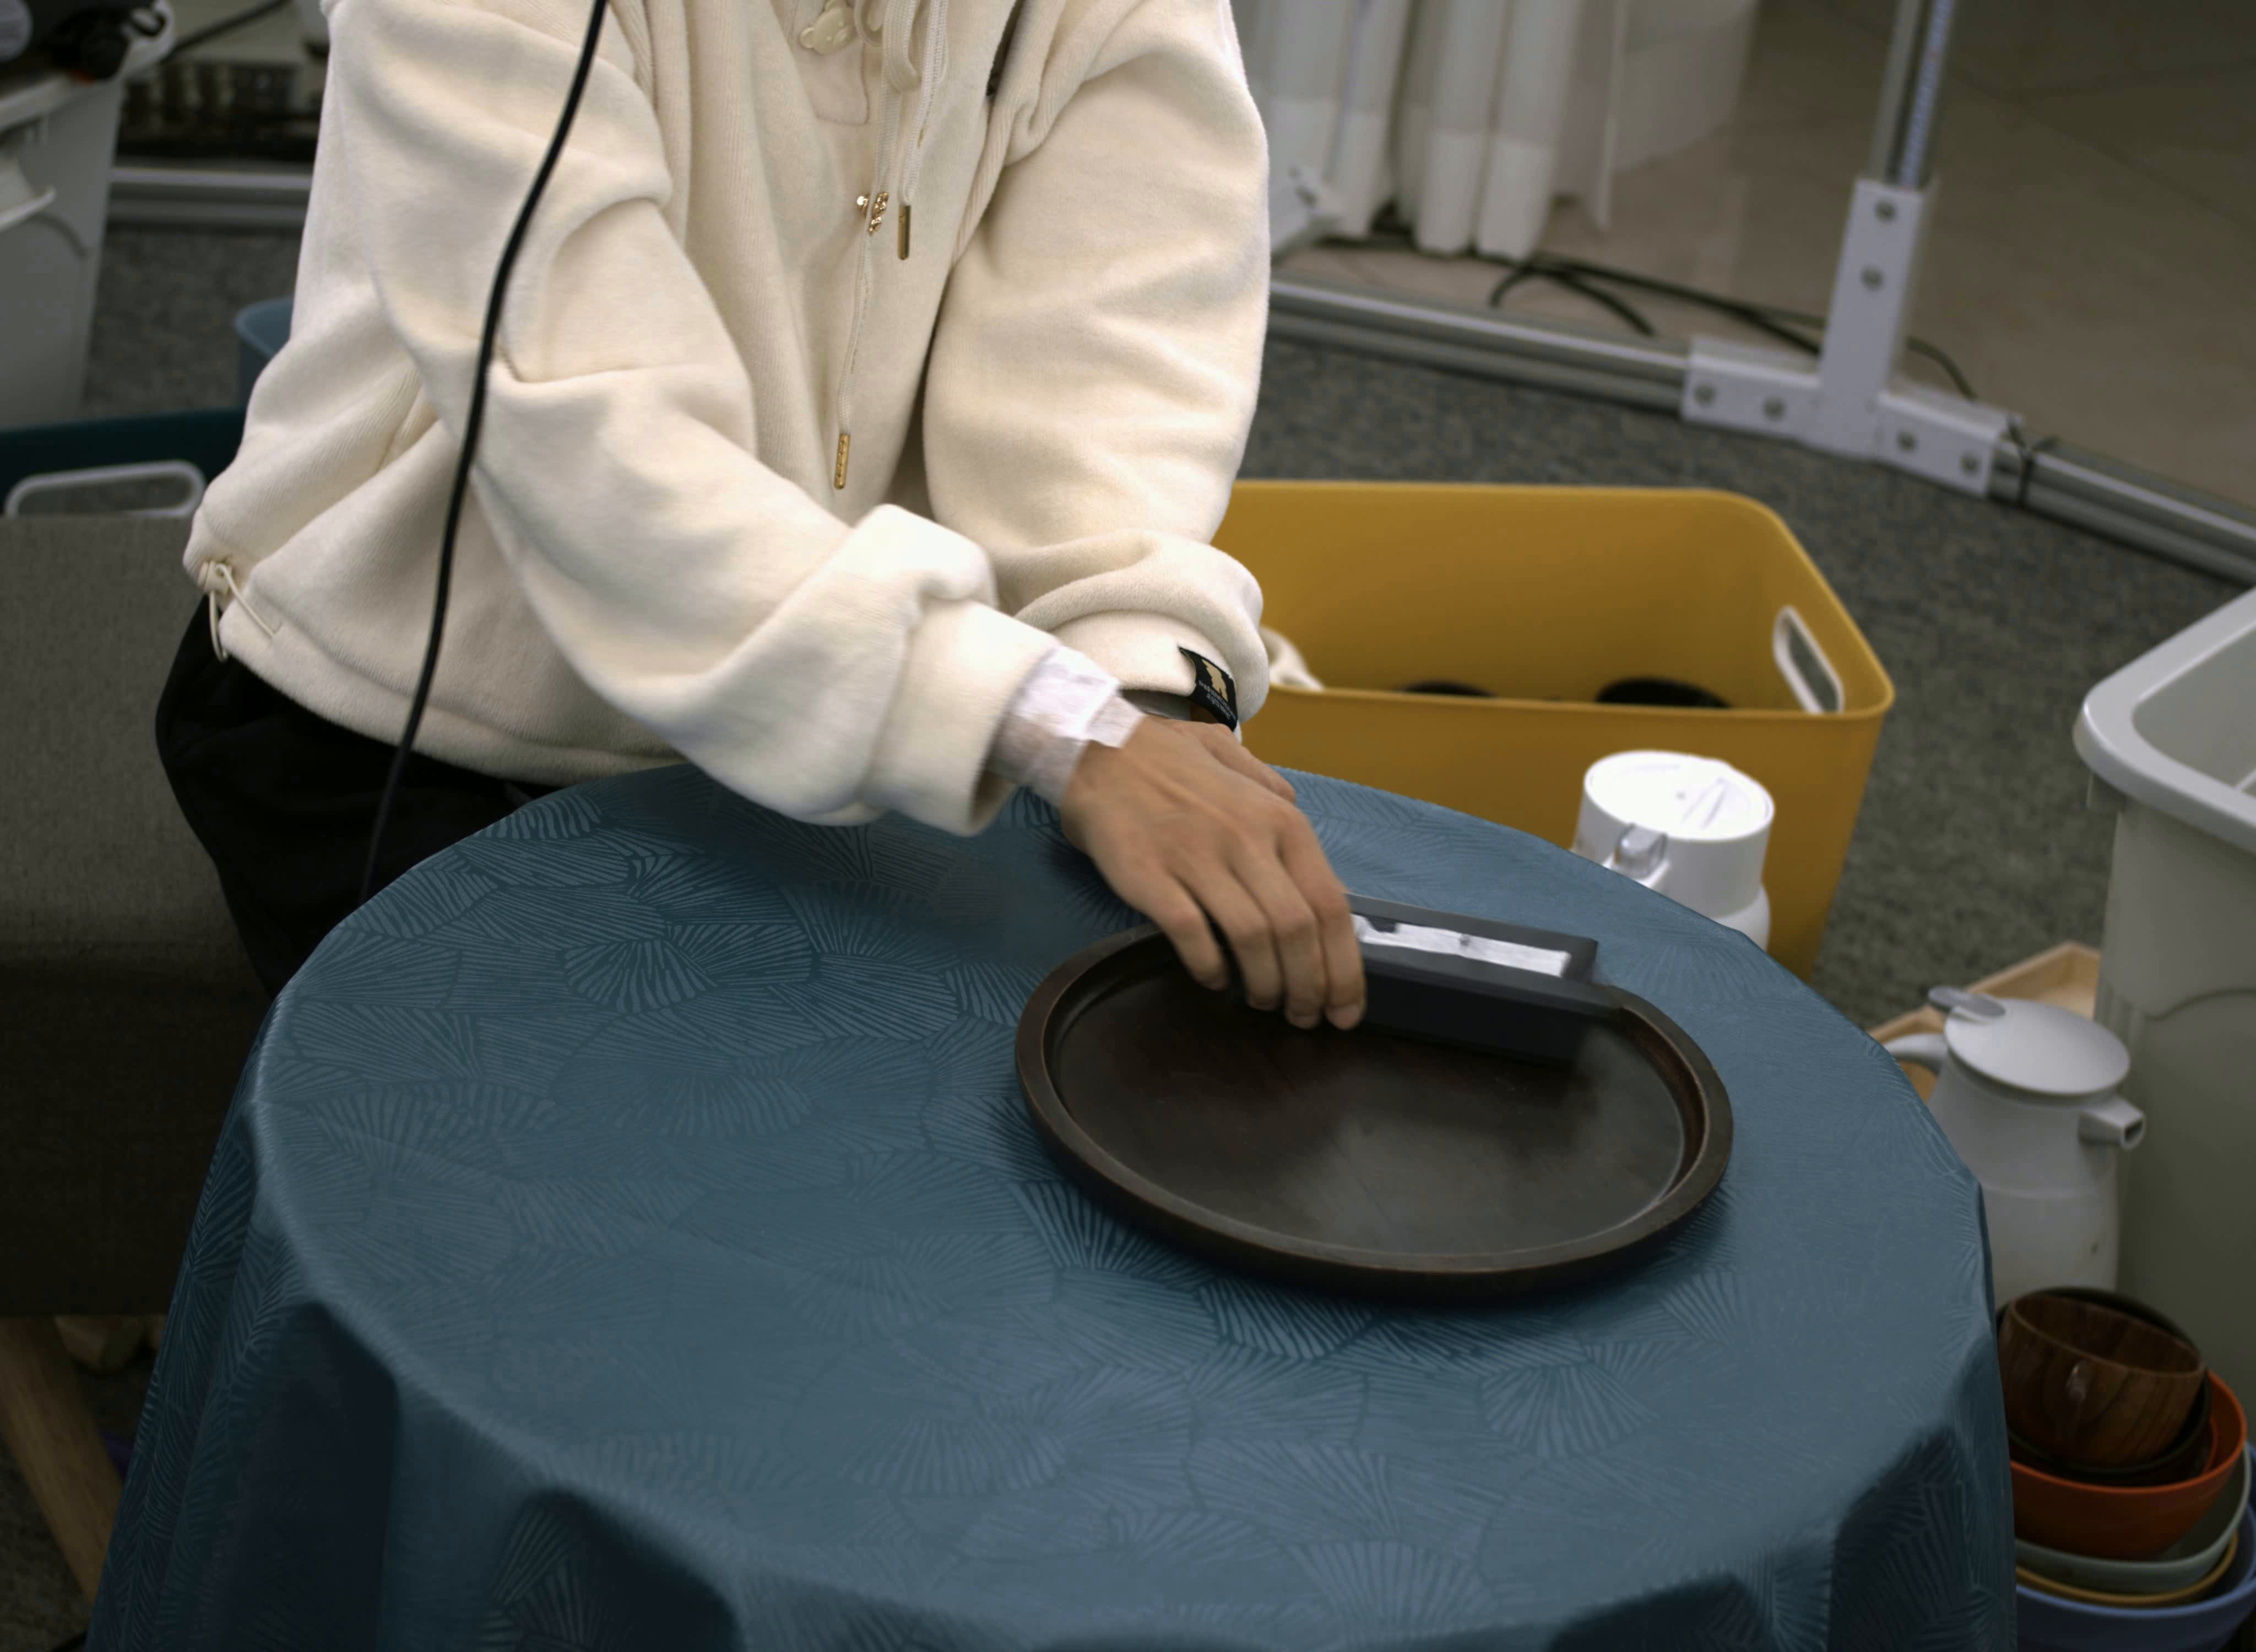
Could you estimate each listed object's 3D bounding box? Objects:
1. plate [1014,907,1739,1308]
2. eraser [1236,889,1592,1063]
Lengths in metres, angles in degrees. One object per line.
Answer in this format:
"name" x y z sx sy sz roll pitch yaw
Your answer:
"plate" 0.085 0.095 1.850 0.254 0.029 0.256 5 28 -3
"eraser" 0.103 0.053 1.905 0.125 0.030 0.053 9 26 8
